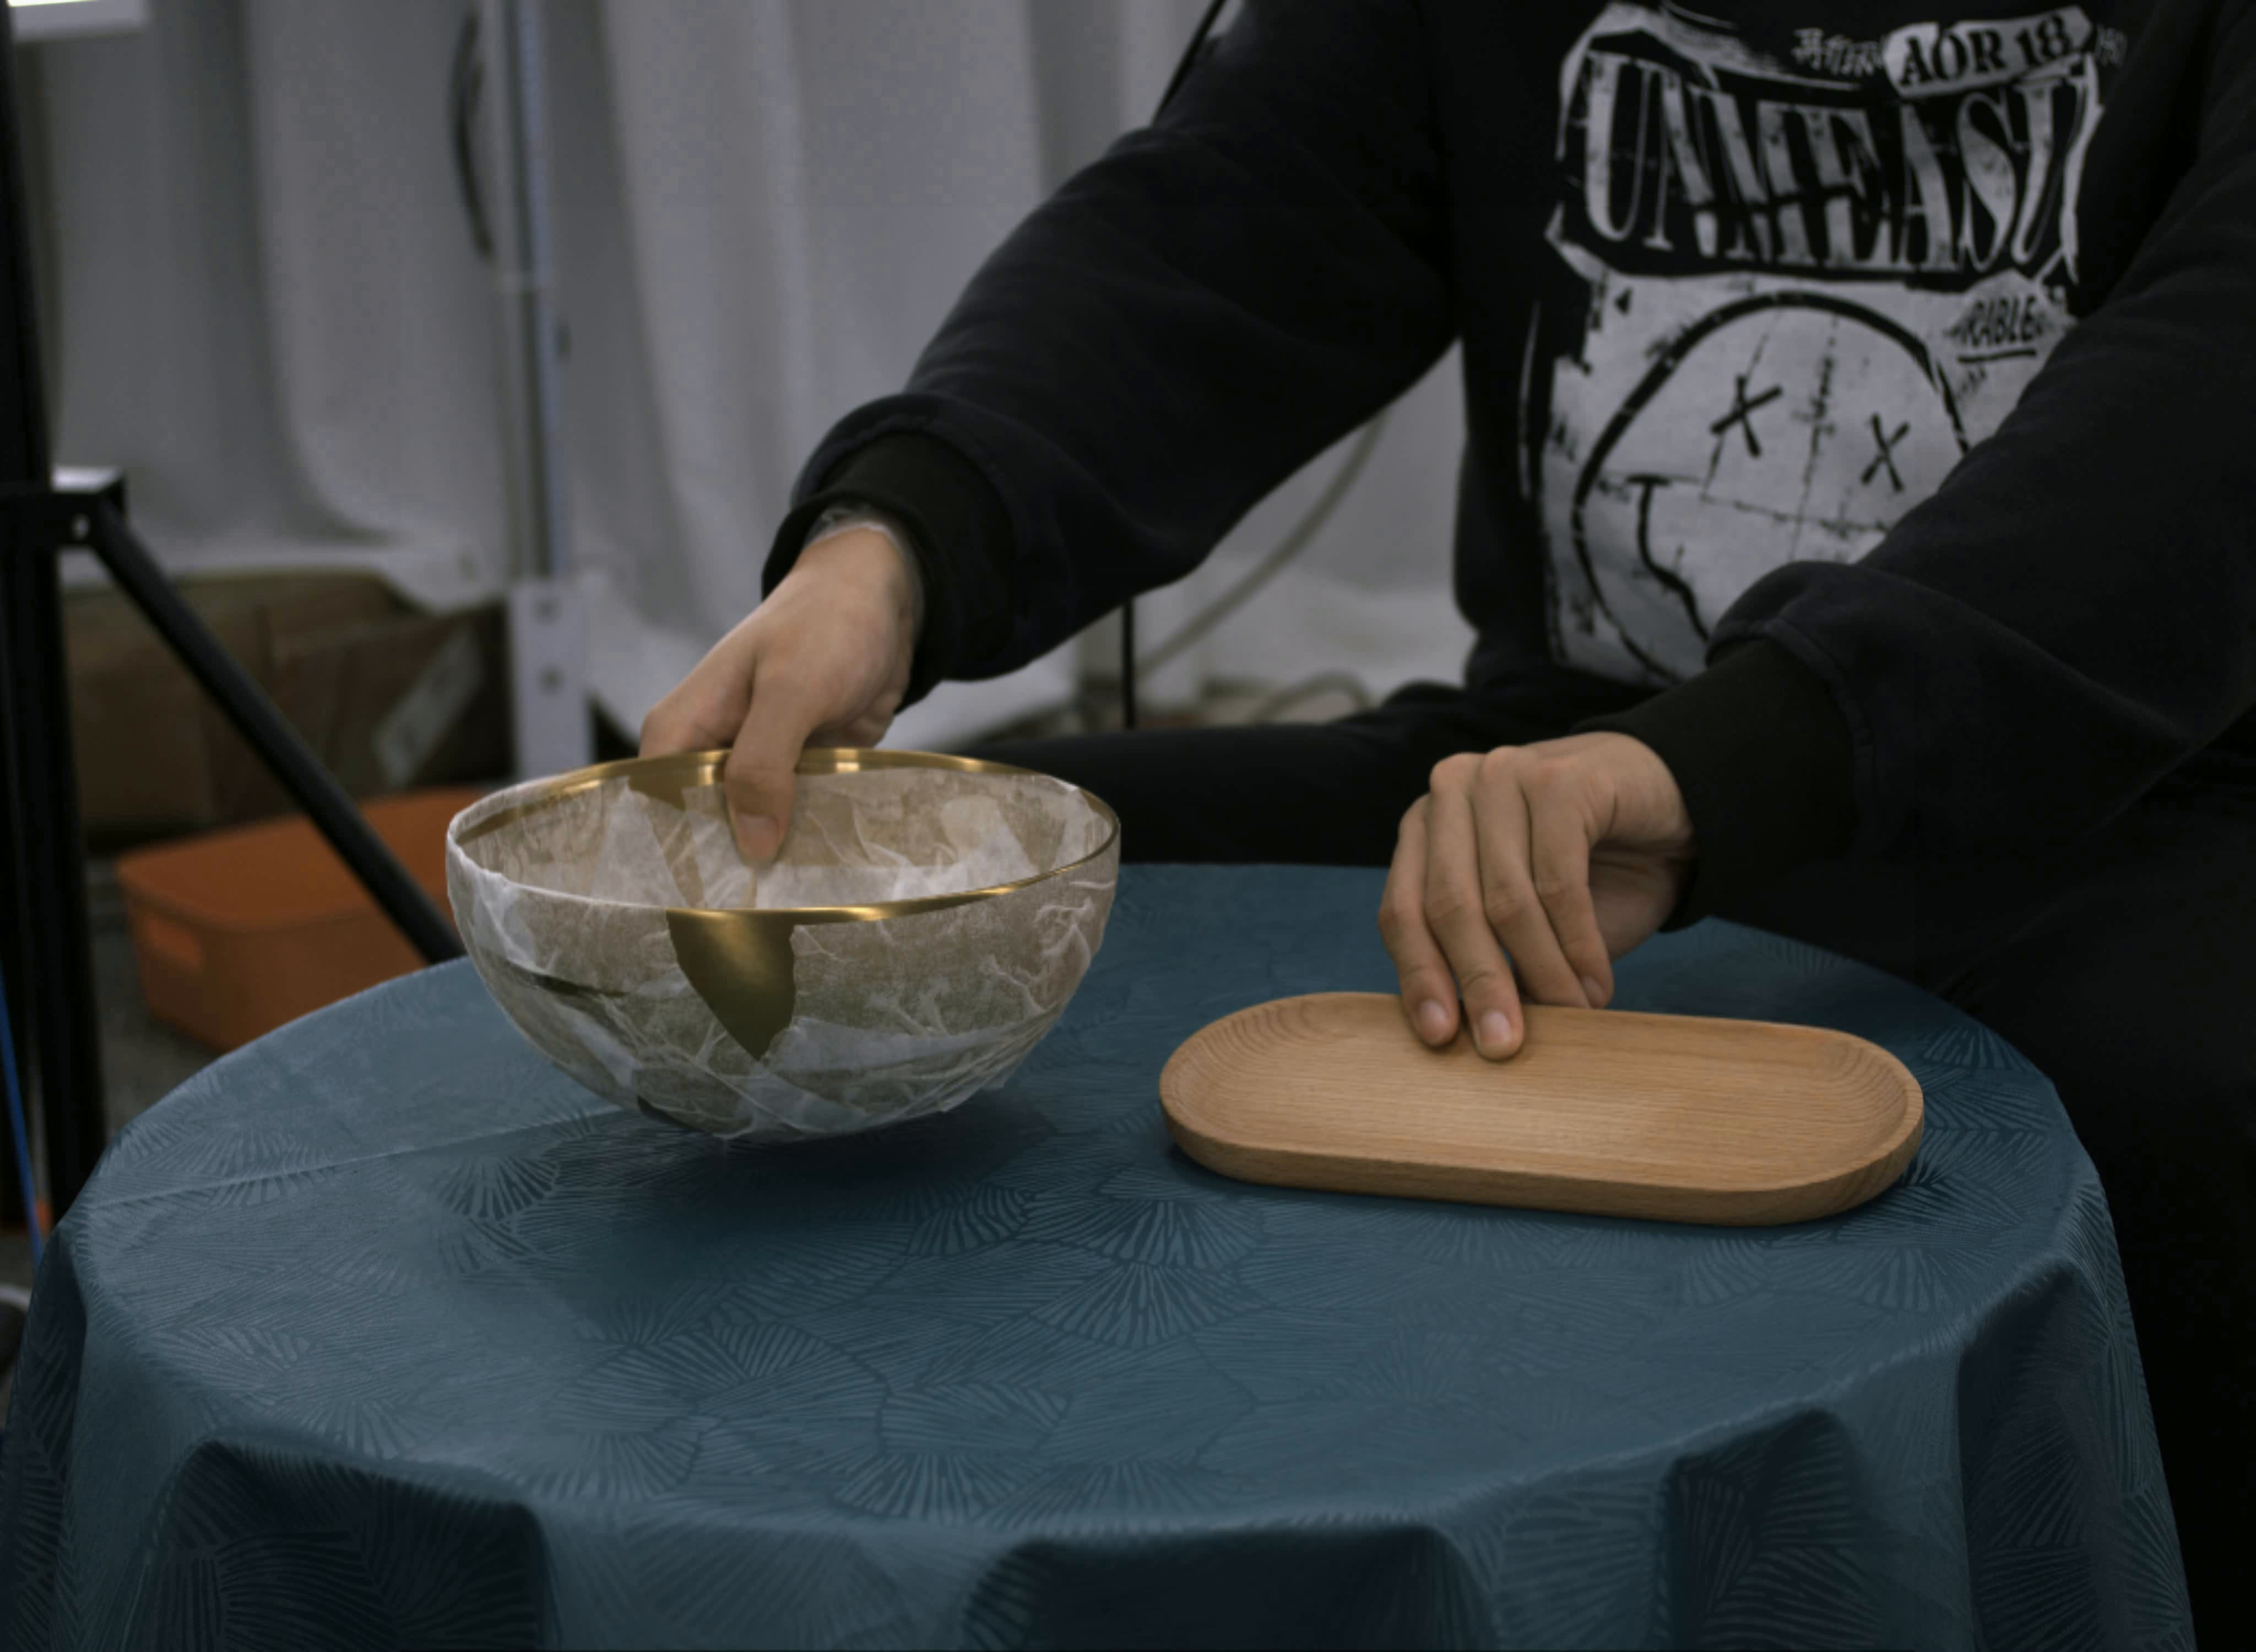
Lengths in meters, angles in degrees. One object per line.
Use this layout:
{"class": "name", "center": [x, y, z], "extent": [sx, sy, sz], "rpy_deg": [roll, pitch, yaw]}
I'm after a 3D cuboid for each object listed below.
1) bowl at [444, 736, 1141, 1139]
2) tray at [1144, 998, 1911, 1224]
{"class": "bowl", "center": [-0.098, 0.041, 1.603], "extent": [0.213, 0.094, 0.215], "rpy_deg": [-1, 13, -1]}
{"class": "tray", "center": [0.117, 0.084, 1.567], "extent": [0.234, 0.020, 0.101], "rpy_deg": [2, 25, 22]}
